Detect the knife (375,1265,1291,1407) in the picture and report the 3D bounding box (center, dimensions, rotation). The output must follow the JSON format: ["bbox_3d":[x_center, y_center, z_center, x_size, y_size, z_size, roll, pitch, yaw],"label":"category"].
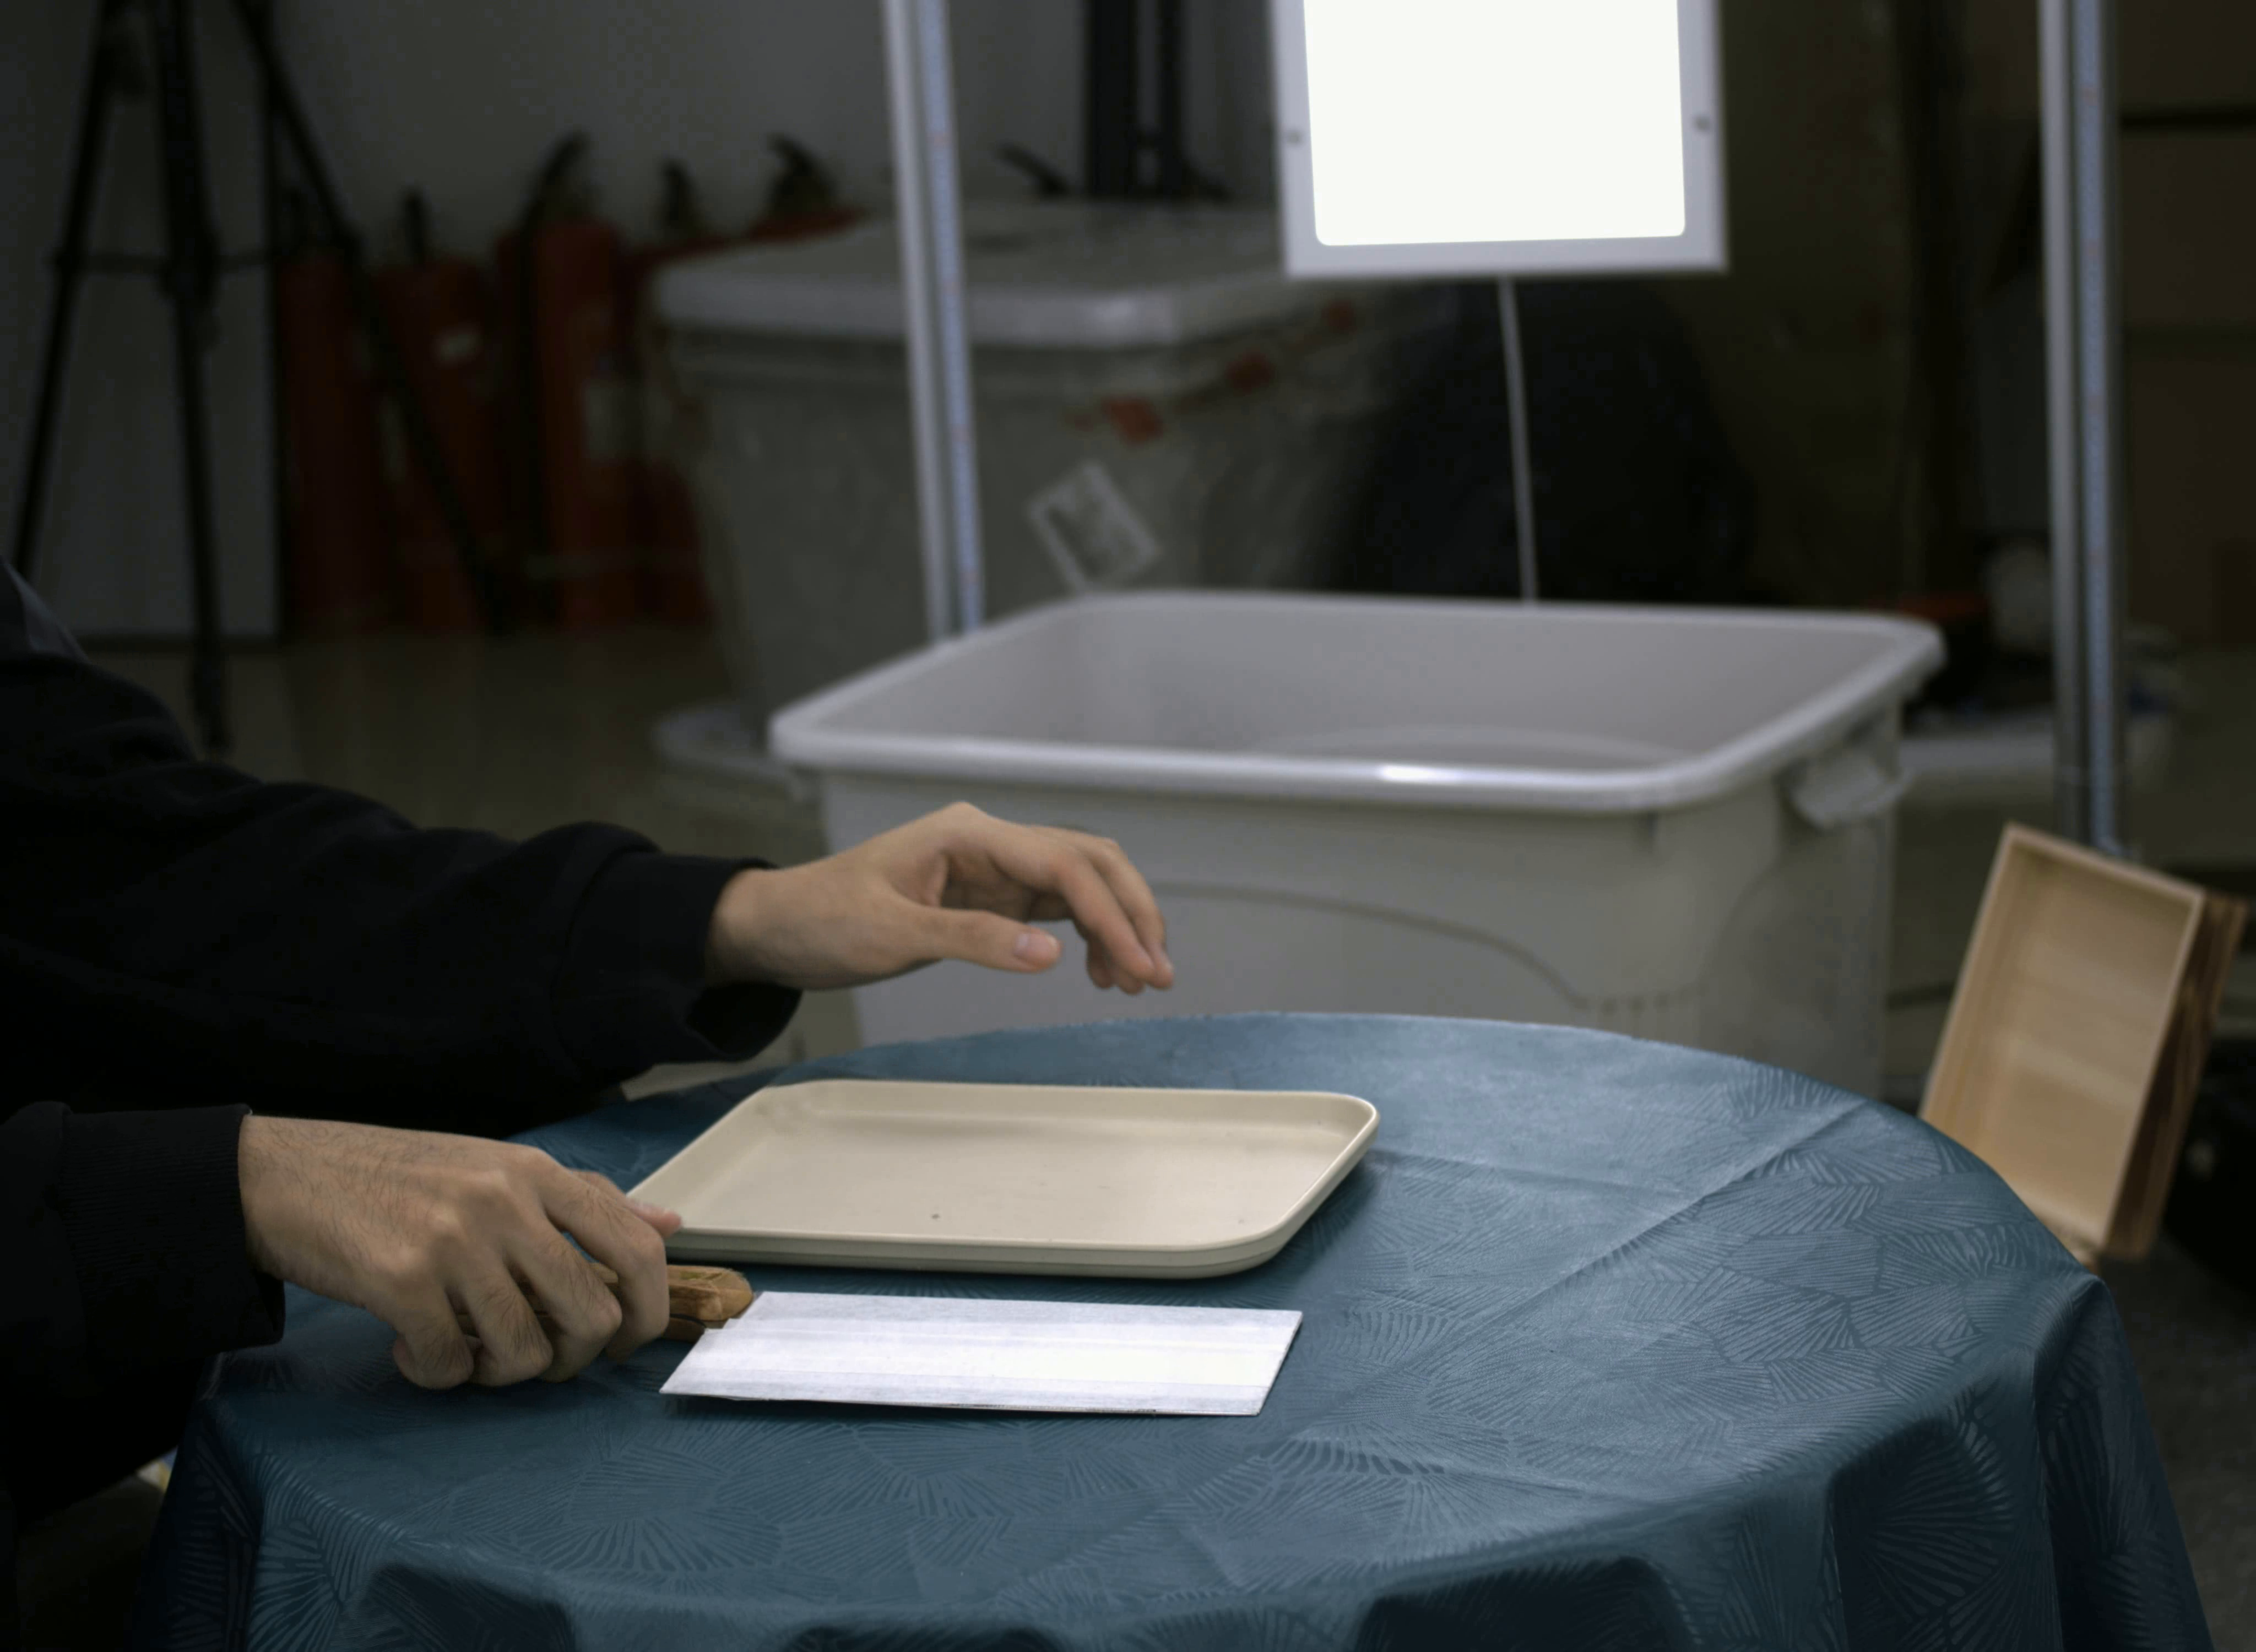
[{"bbox_3d":[-0.100,0.164,1.748,0.308,0.021,0.092,1,16,14],"label":"knife"}]

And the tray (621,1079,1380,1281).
[{"bbox_3d":[-0.042,0.121,1.893,0.243,0.017,0.168,0,16,21],"label":"tray"}]
